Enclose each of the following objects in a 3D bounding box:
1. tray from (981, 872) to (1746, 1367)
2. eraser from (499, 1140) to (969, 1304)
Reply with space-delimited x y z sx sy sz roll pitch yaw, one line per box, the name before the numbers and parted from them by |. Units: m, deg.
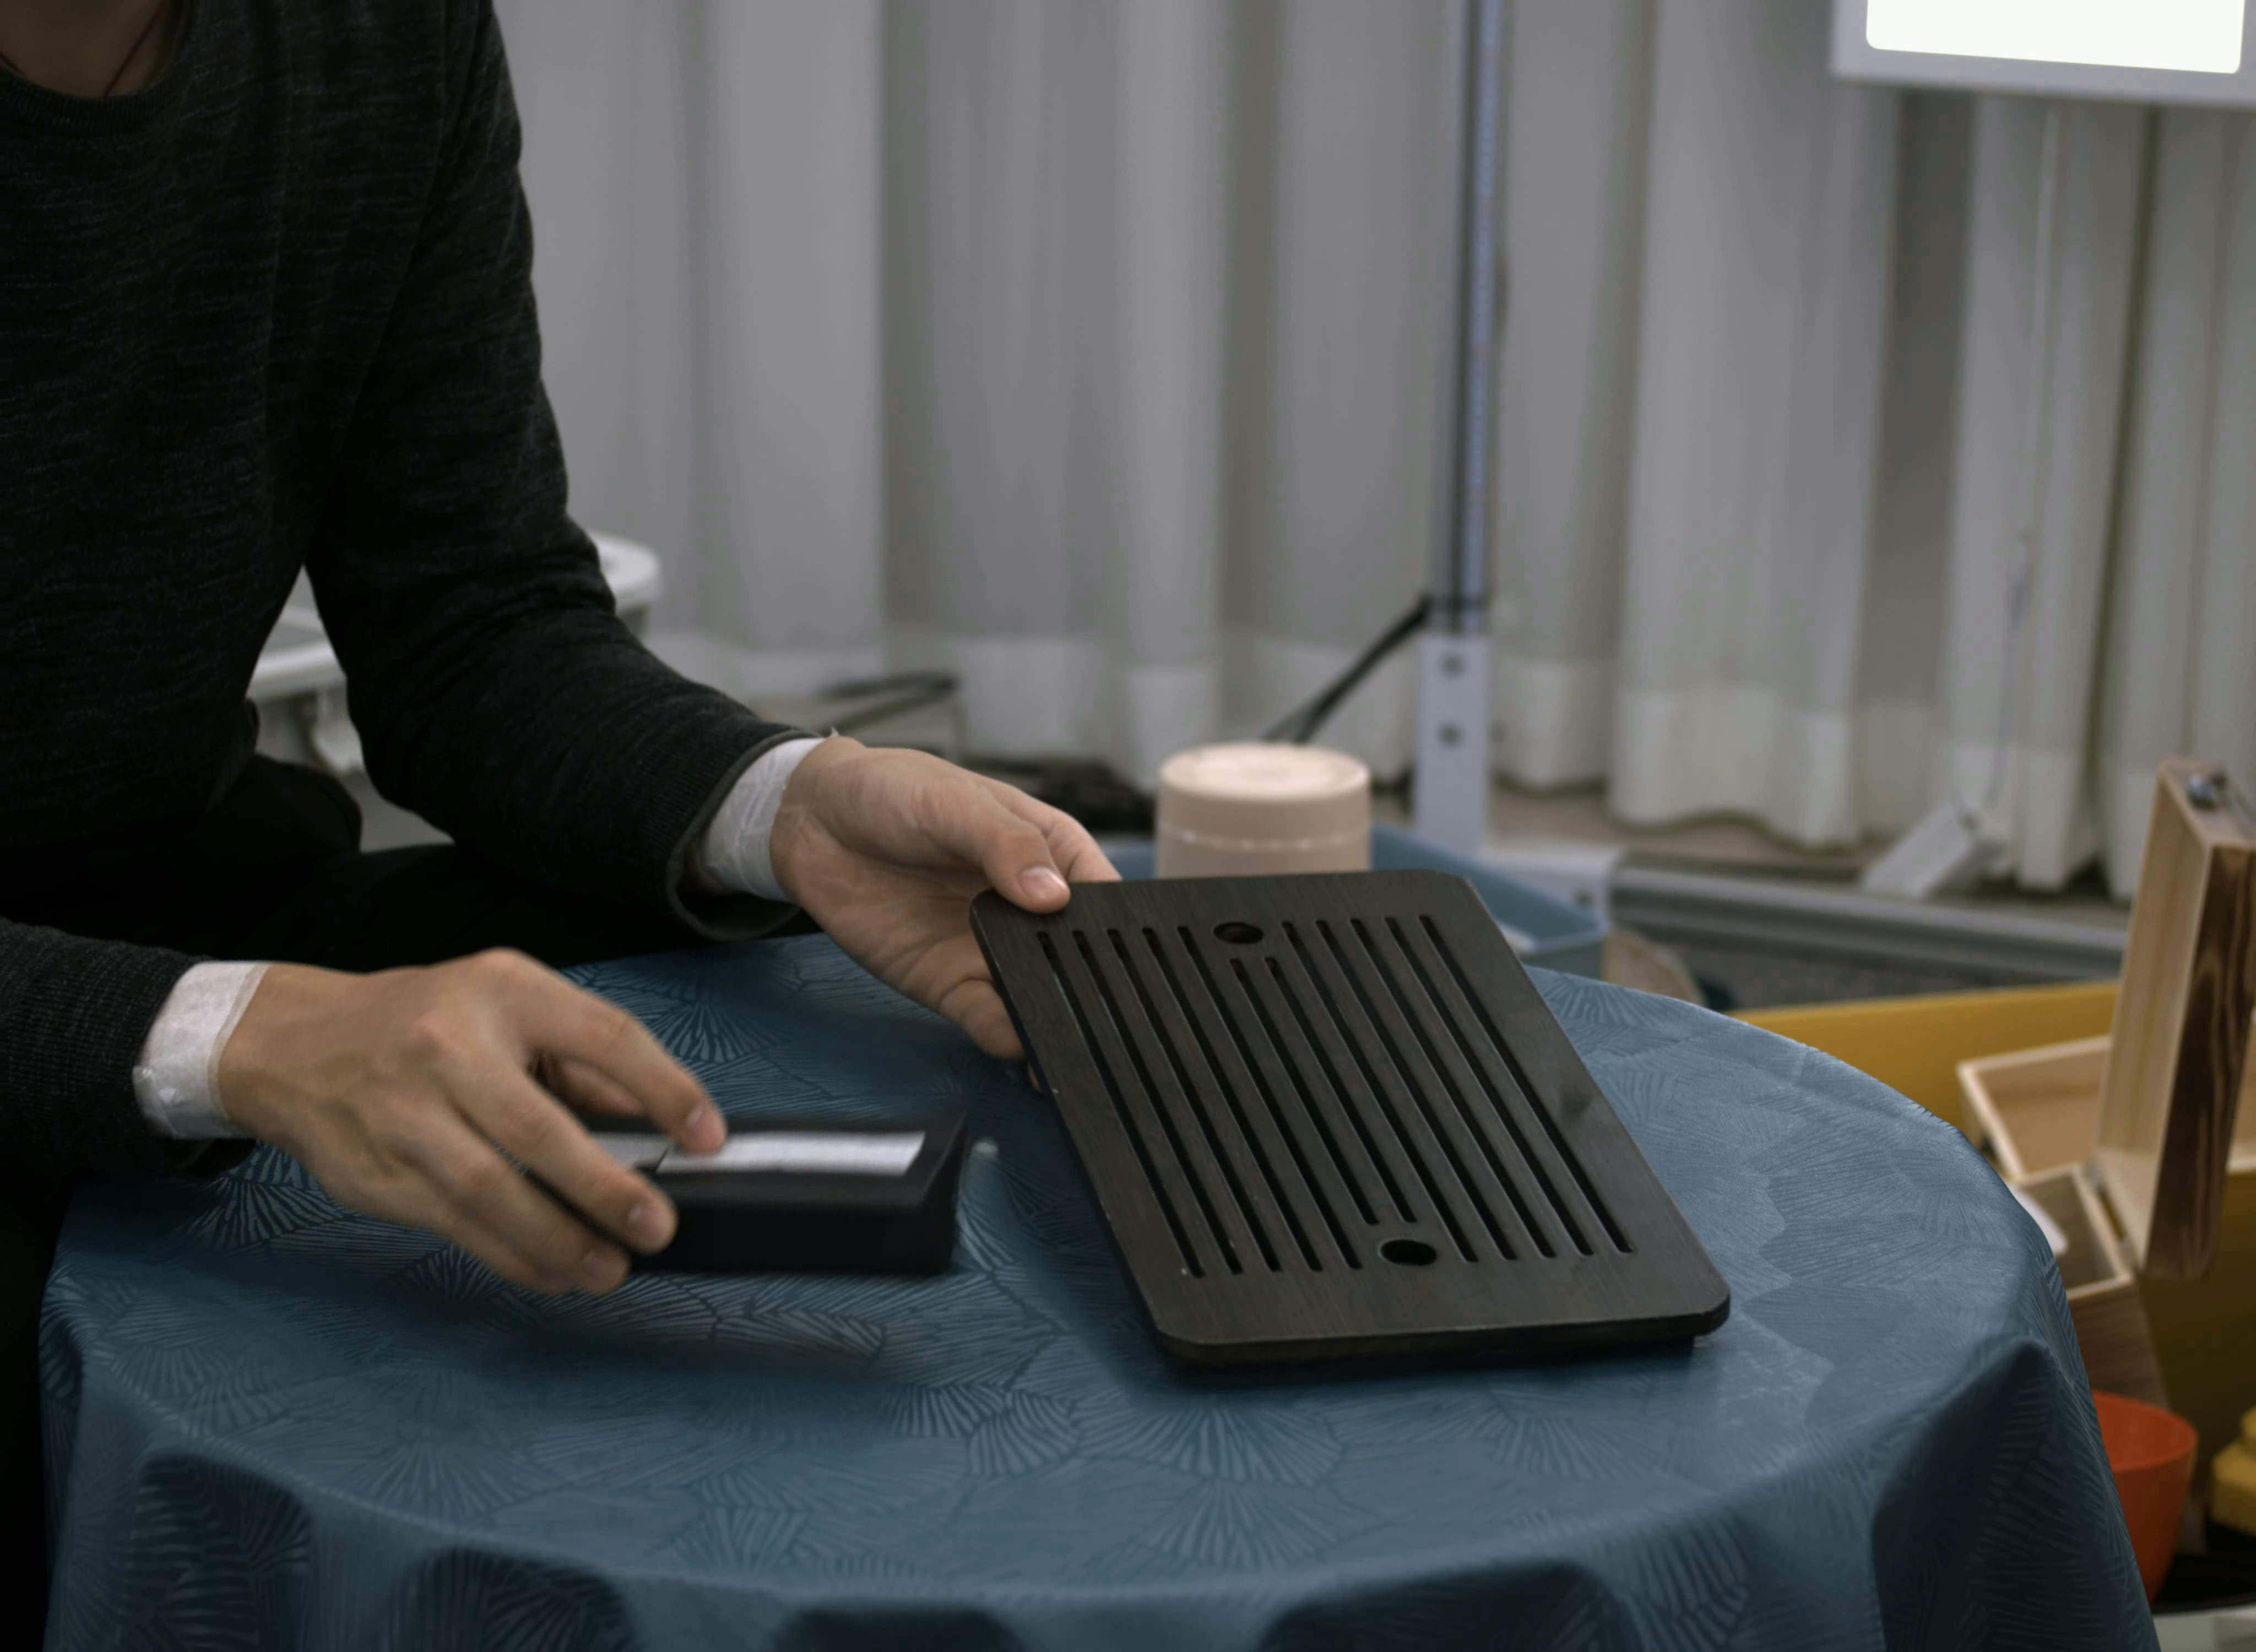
tray | 0.064 0.086 1.606 0.170 0.019 0.302 -2 24 -13
eraser | -0.109 0.110 1.476 0.124 0.031 0.053 0 21 13
